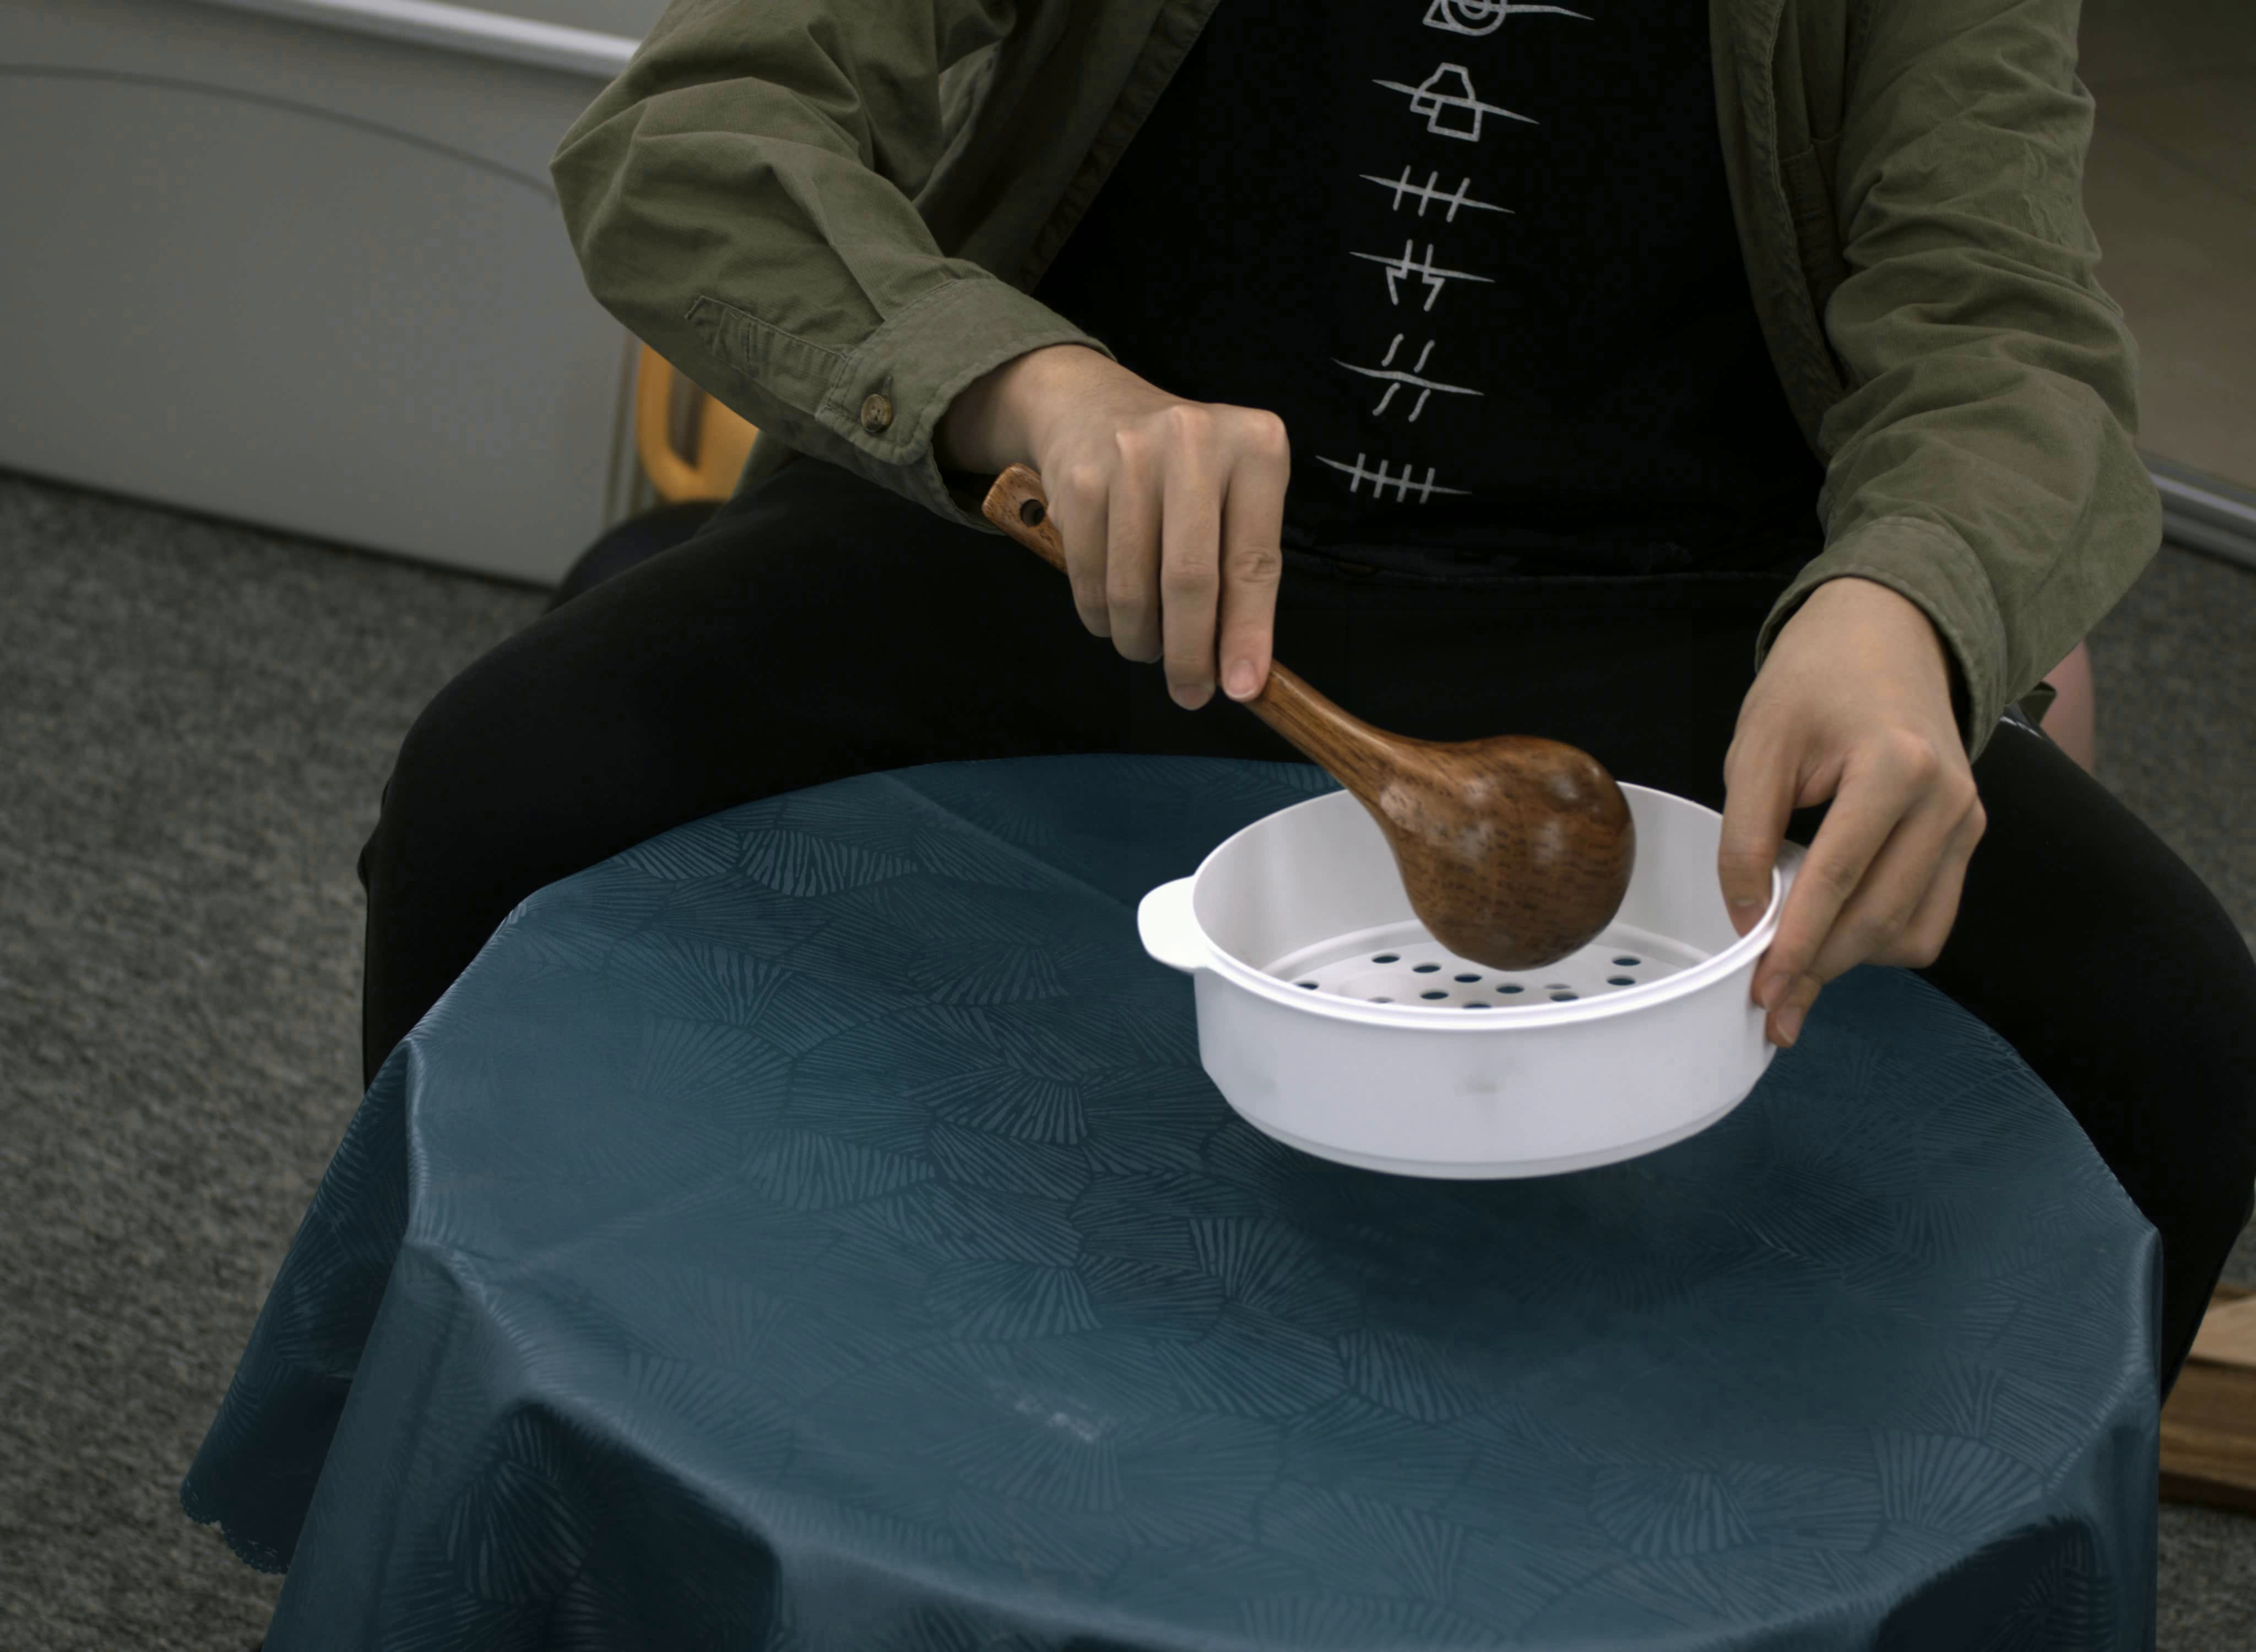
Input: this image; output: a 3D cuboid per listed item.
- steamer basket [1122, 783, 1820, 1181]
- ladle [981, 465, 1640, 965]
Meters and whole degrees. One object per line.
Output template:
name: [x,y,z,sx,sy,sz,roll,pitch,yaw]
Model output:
steamer basket: [0.114,0.050,1.771,0.230,0.069,0.203,-4,23,-1]
ladle: [0.063,-0.047,1.837,0.276,0.082,0.076,38,9,34]
